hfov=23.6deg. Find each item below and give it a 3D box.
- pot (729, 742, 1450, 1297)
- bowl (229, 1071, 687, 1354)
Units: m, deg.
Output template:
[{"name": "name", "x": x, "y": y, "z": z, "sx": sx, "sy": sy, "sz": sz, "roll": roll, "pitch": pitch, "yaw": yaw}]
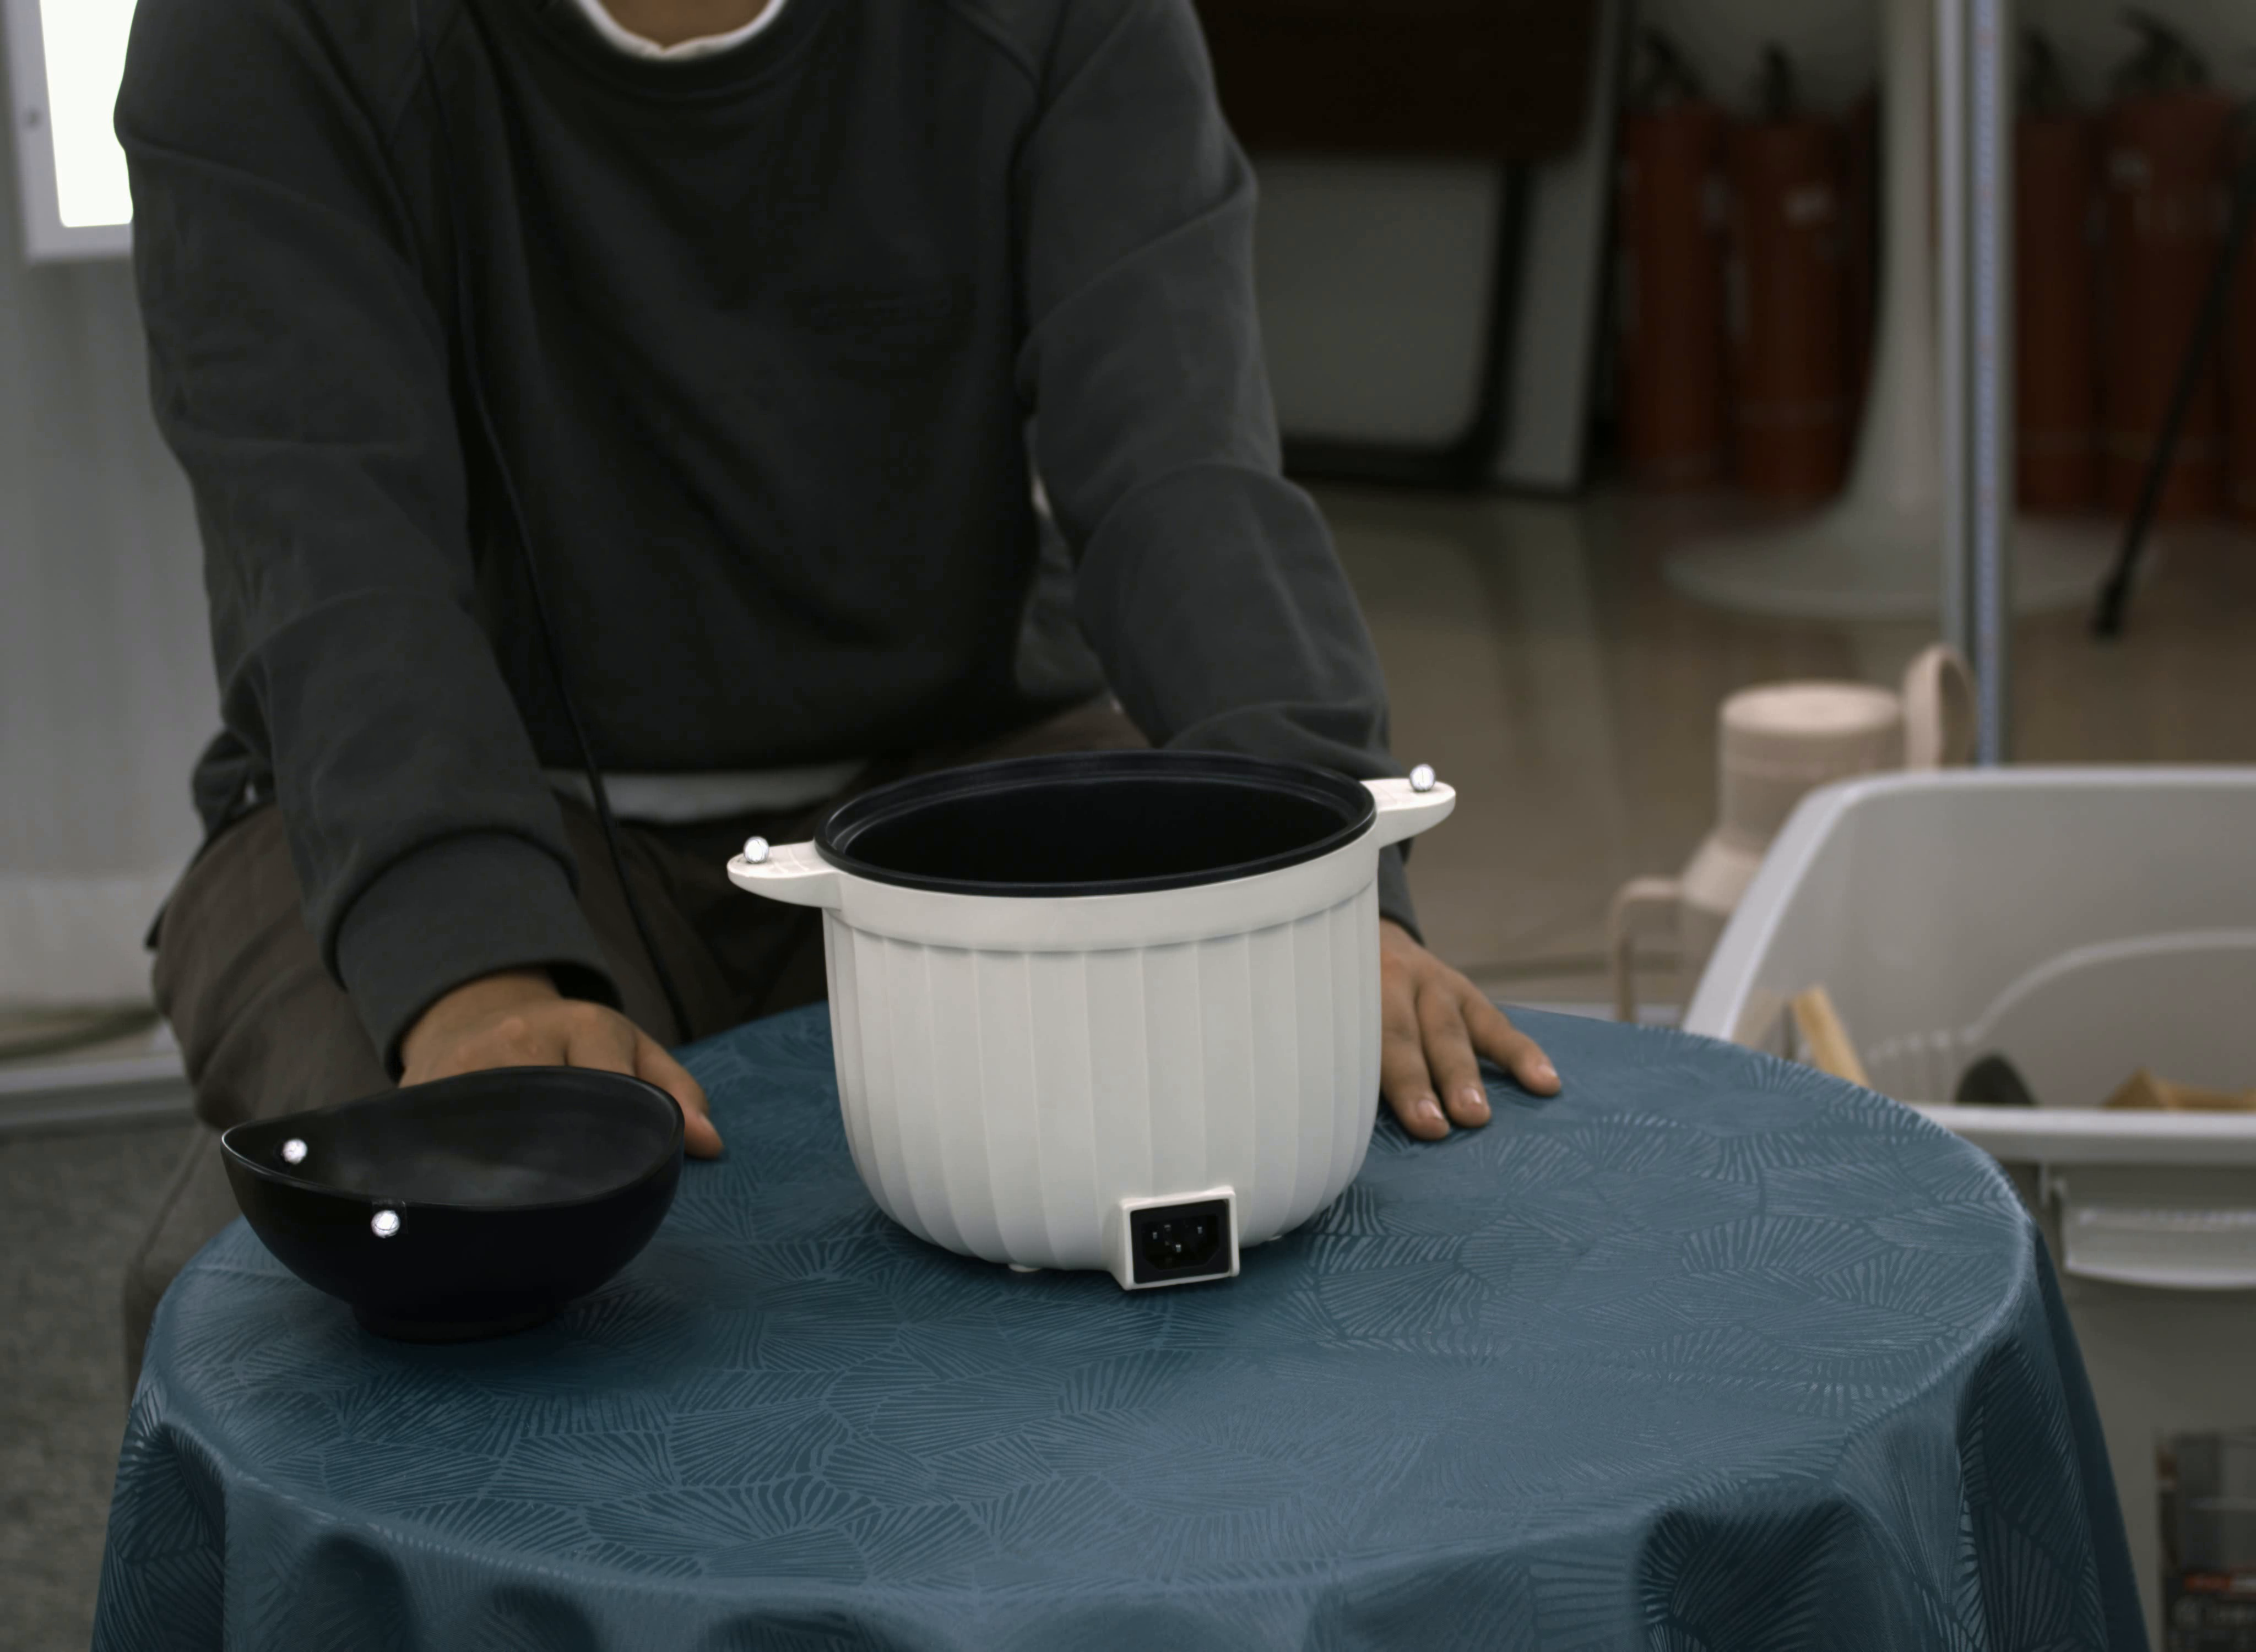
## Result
[{"name": "pot", "x": -0.010, "y": 0.059, "z": 1.738, "sx": 0.236, "sy": 0.144, "sz": 0.192, "roll": -6, "pitch": 17, "yaw": -13}, {"name": "bowl", "x": -0.208, "y": 0.124, "z": 1.688, "sx": 0.134, "sy": 0.067, "sz": 0.172, "roll": -13, "pitch": 15, "yaw": -34}]
